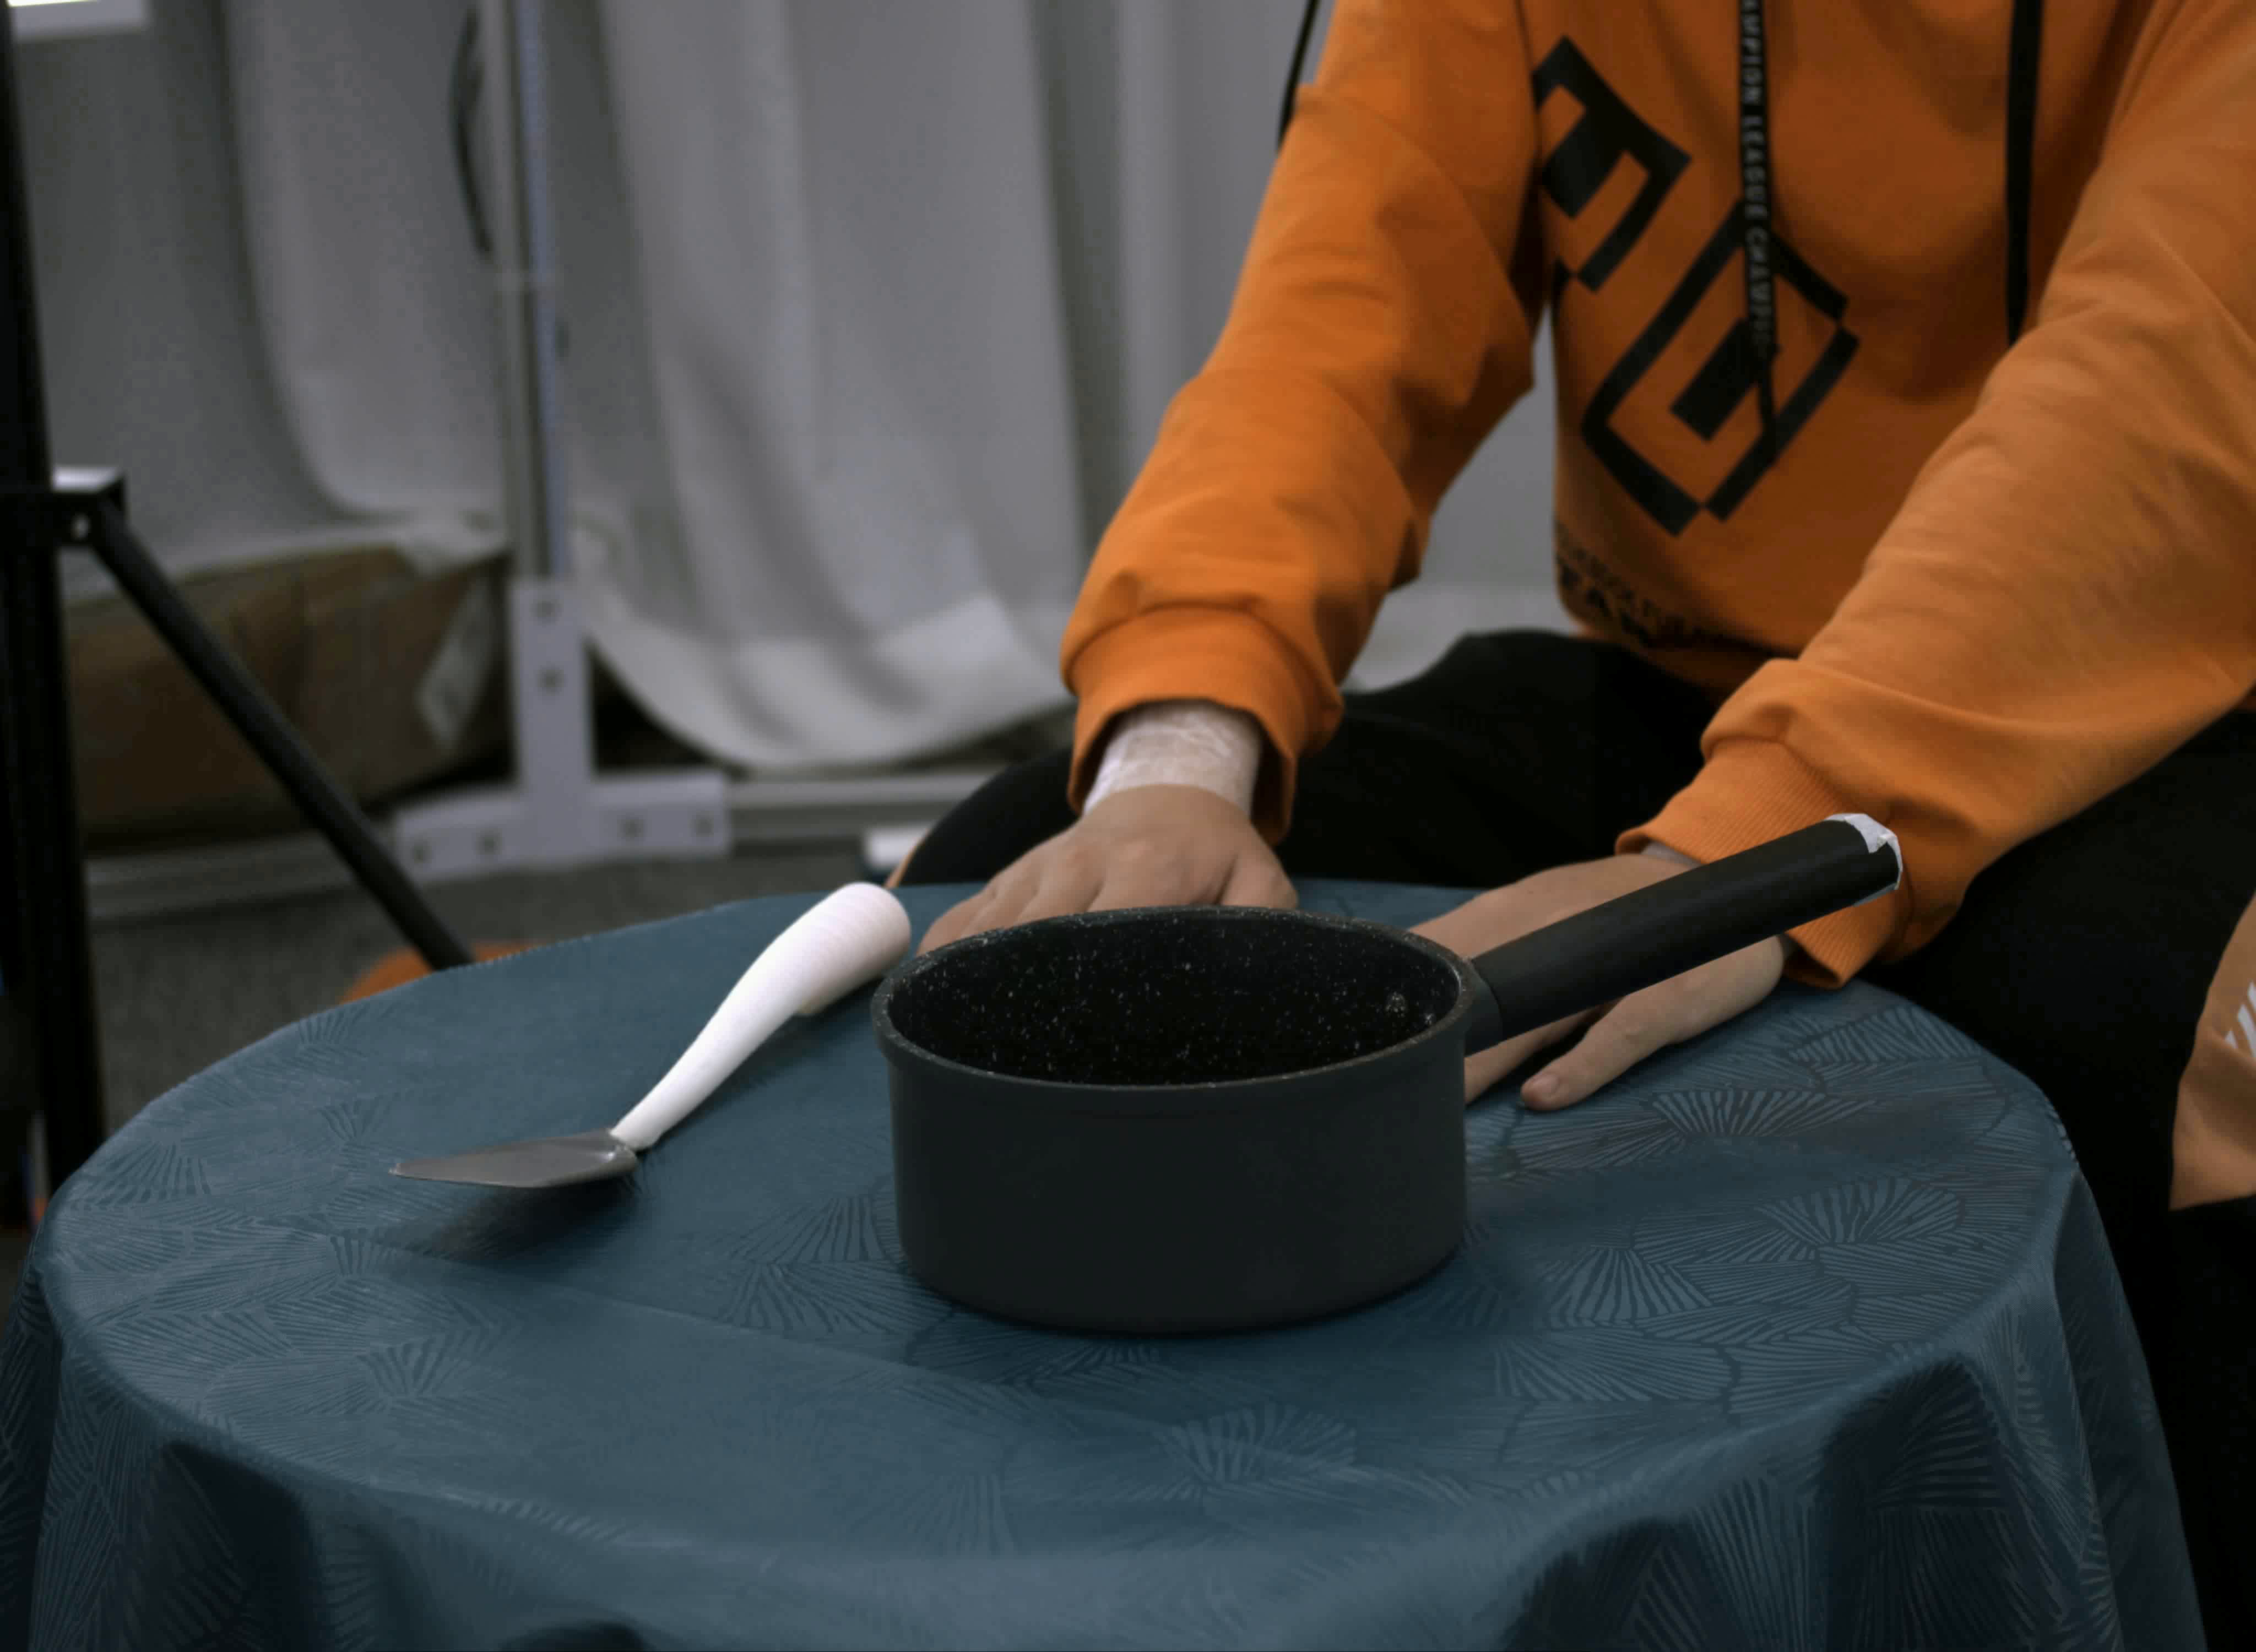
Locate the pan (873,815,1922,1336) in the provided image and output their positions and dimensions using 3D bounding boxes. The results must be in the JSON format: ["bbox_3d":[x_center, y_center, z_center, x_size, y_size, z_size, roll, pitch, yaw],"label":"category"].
[{"bbox_3d":[0.085,0.067,1.533,0.322,0.086,0.175,-11,18,-22],"label":"pan"}]

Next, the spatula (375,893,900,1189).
[{"bbox_3d":[-0.141,0.074,1.645,0.059,0.032,0.284,7,17,20],"label":"spatula"}]
